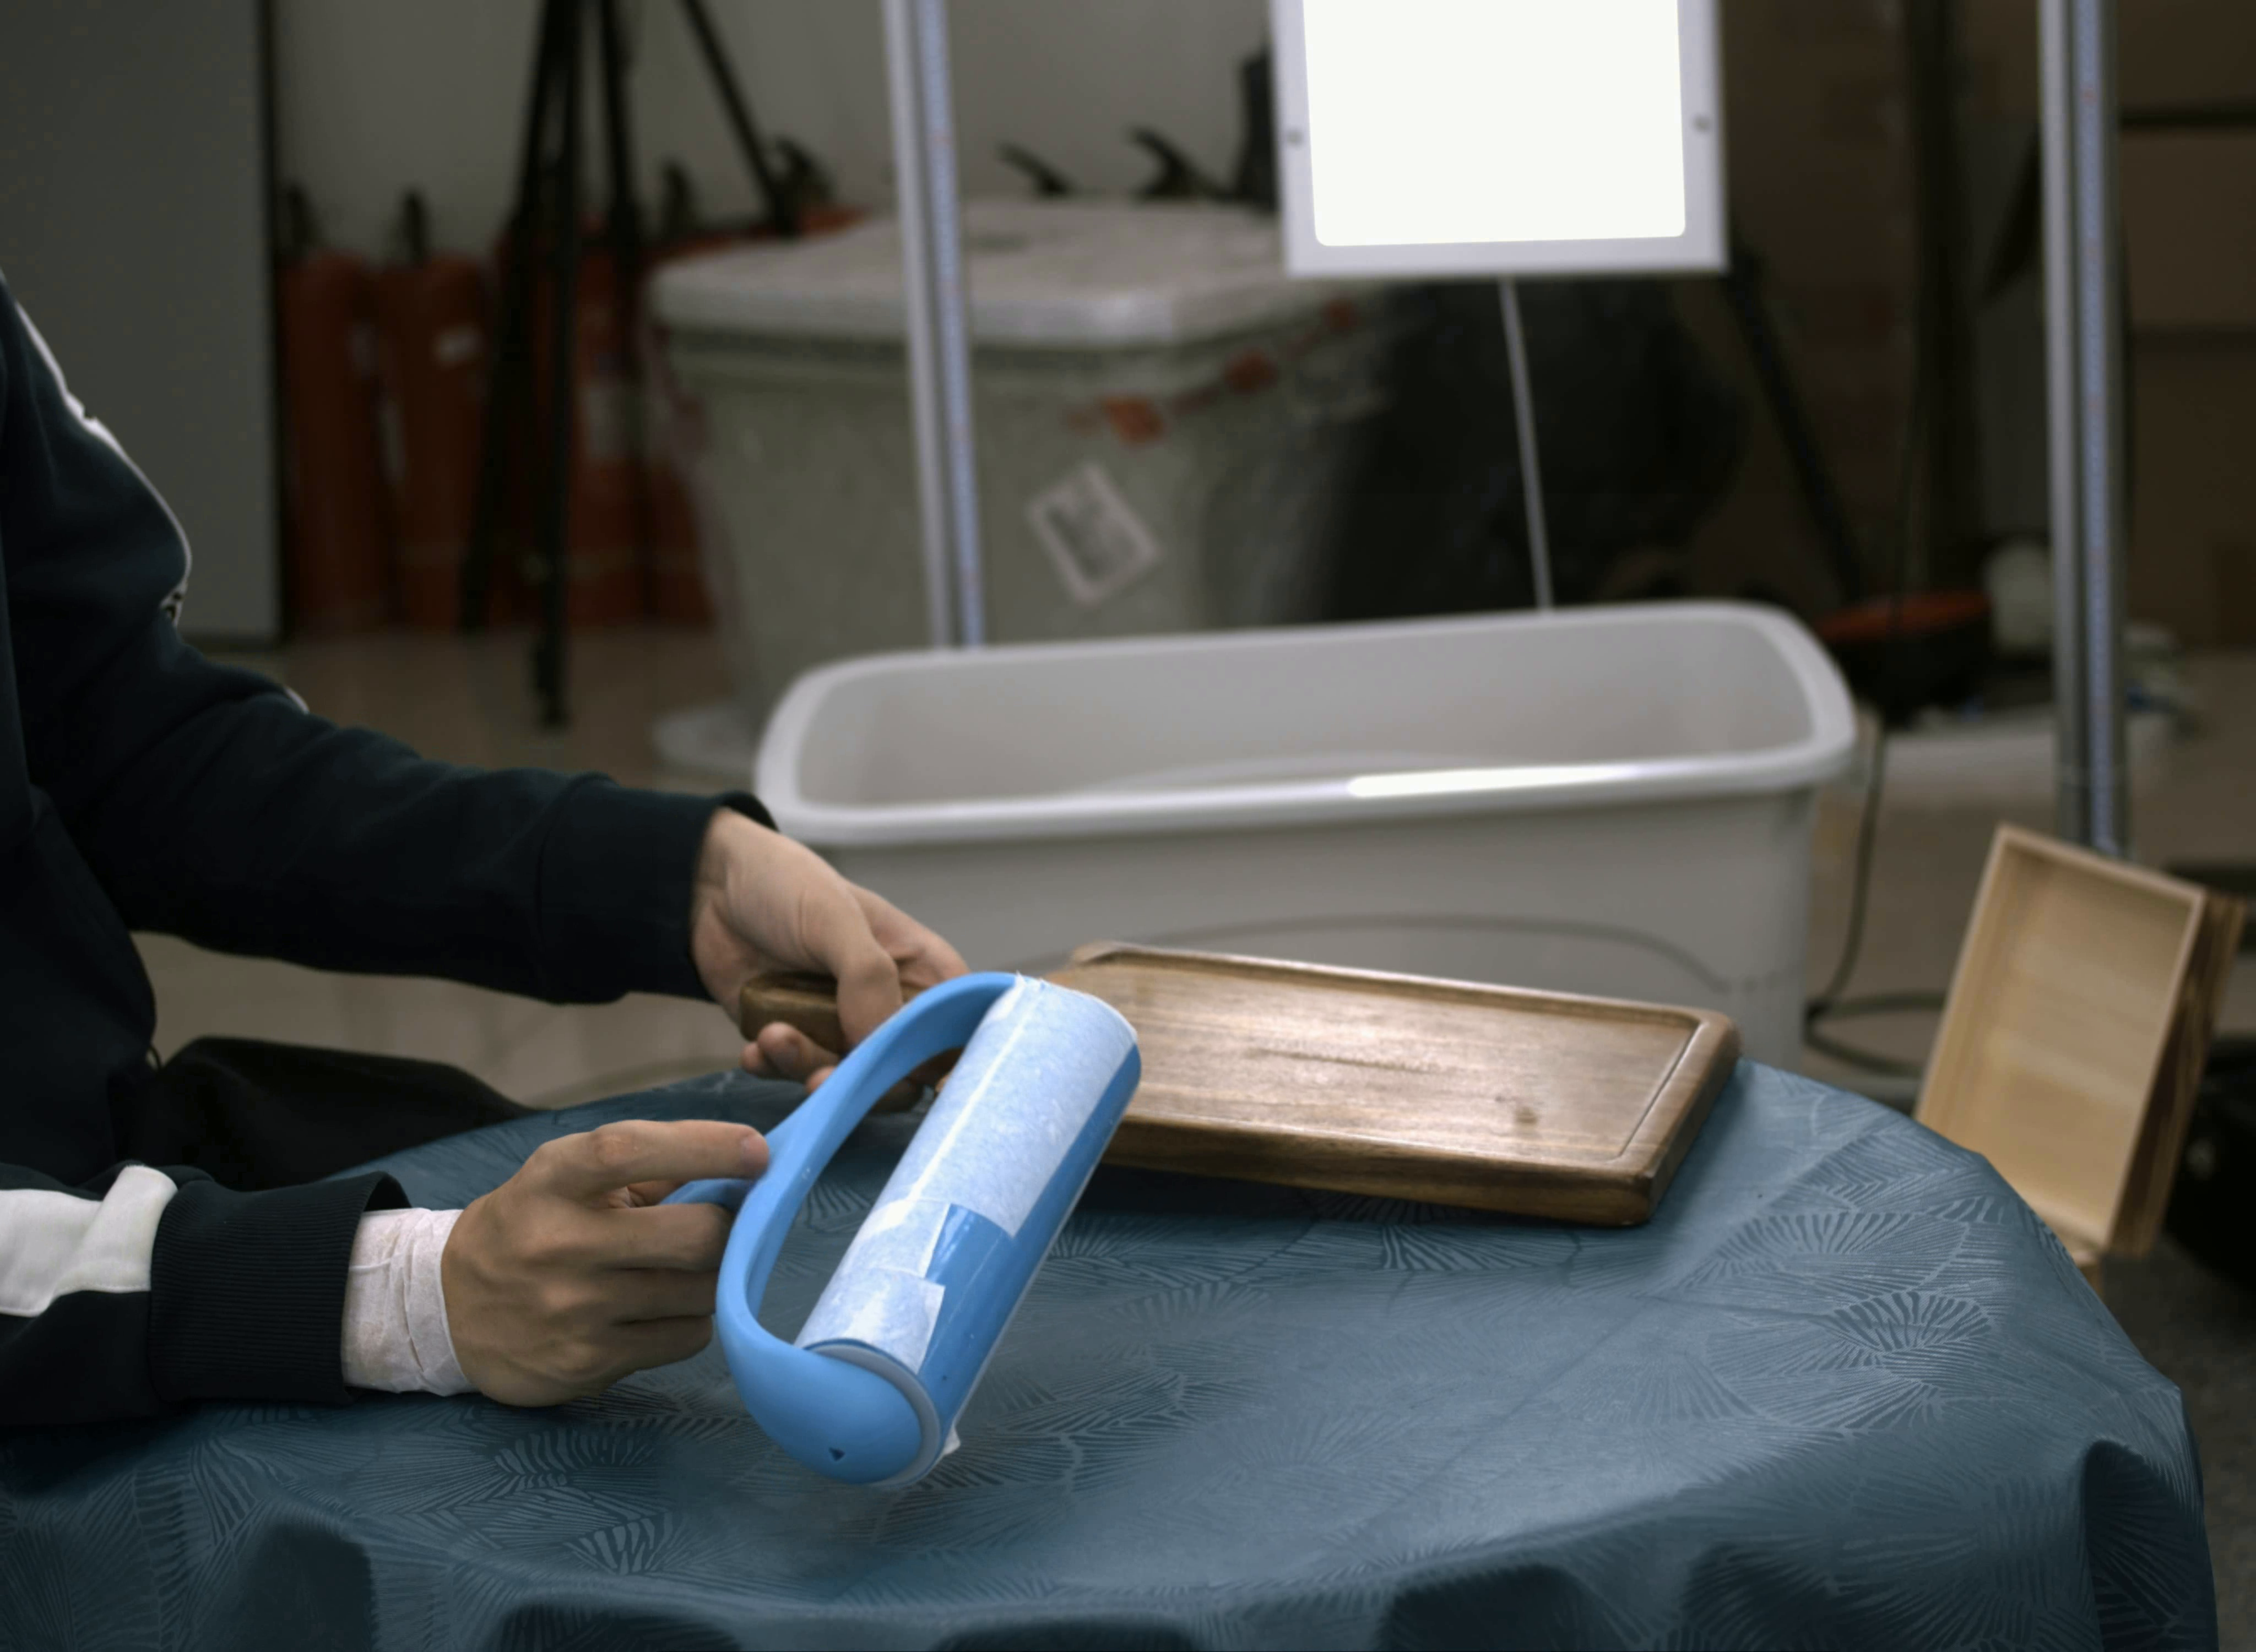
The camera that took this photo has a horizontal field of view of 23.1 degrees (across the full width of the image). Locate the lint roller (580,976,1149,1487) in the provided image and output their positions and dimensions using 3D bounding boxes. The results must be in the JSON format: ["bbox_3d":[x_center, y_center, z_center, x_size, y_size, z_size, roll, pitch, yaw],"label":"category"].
[{"bbox_3d":[-0.101,0.130,1.688,0.183,0.068,0.226,-12,28,25],"label":"lint roller"}]

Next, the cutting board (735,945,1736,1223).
[{"bbox_3d":[0.030,0.082,1.941,0.355,0.023,0.198,6,15,16],"label":"cutting board"}]
